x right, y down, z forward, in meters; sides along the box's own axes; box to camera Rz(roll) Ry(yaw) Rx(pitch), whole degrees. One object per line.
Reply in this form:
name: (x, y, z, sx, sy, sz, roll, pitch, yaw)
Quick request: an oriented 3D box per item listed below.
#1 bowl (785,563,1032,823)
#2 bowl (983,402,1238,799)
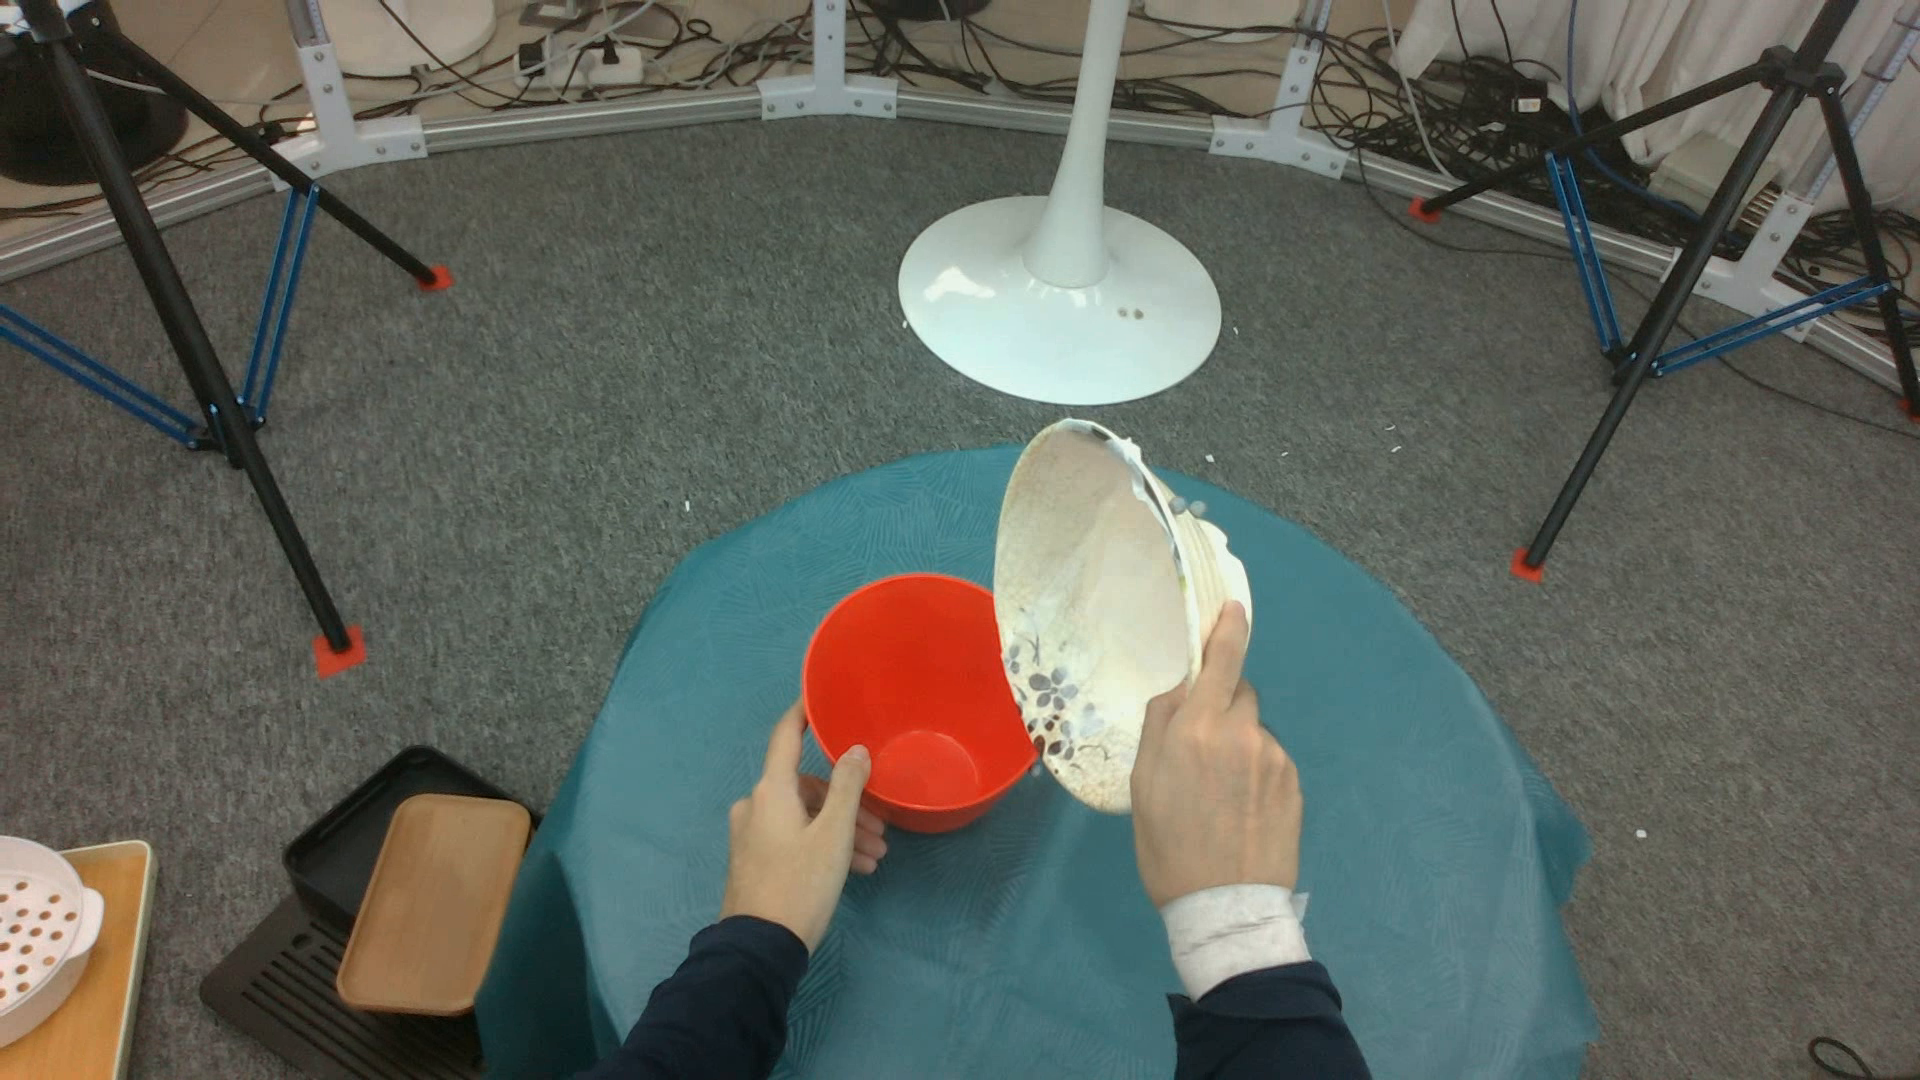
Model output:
bowl: (-0.031, 0.103, 0.824, 0.148, 0.104, 0.148, 4, 52, -5)
bowl: (0.088, 0.027, 0.721, 0.078, 0.203, 0.204, -7, 49, -24)
